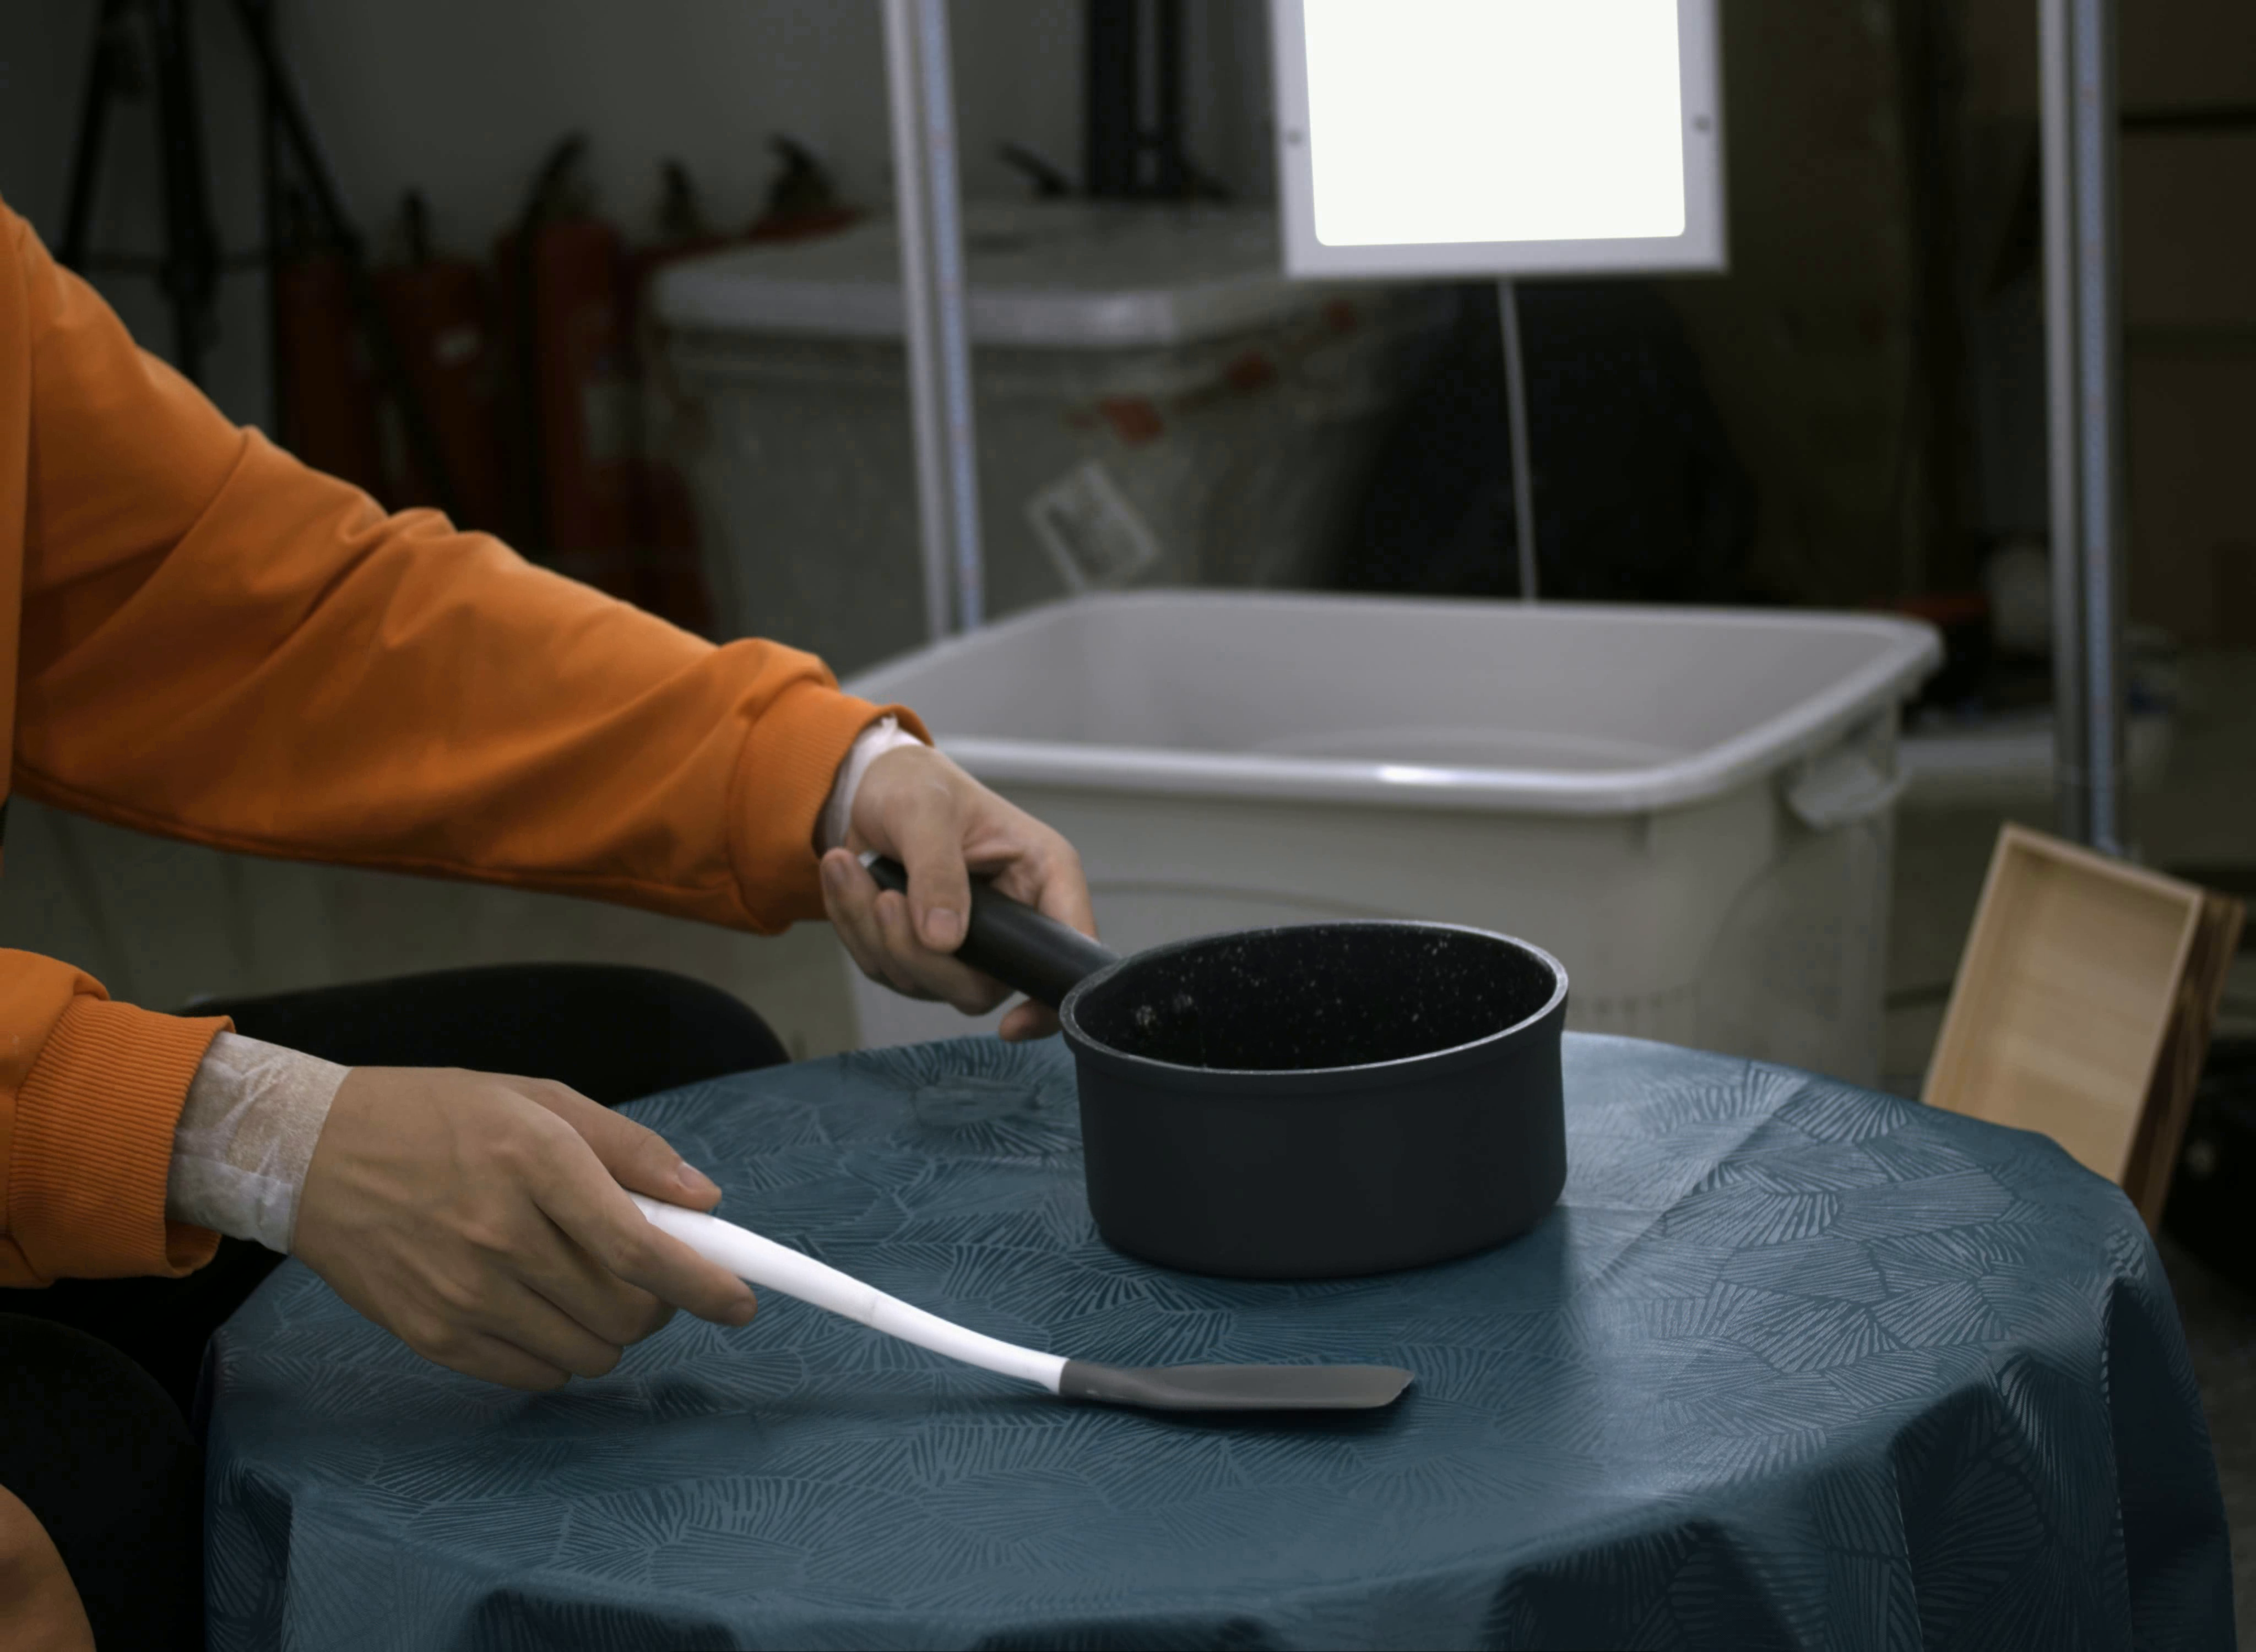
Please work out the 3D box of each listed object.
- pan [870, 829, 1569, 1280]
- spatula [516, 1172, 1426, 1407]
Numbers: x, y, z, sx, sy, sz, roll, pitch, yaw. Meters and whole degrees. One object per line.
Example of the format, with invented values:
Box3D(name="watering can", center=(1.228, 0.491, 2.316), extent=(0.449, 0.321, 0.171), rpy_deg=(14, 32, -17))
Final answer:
Box3D(name="pan", center=(0.016, 0.074, 1.914), extent=(0.168, 0.087, 0.335), rpy_deg=(-14, 19, -34))
Box3D(name="spatula", center=(-0.051, 0.151, 1.700), extent=(0.290, 0.032, 0.058), rpy_deg=(11, 4, 15))
